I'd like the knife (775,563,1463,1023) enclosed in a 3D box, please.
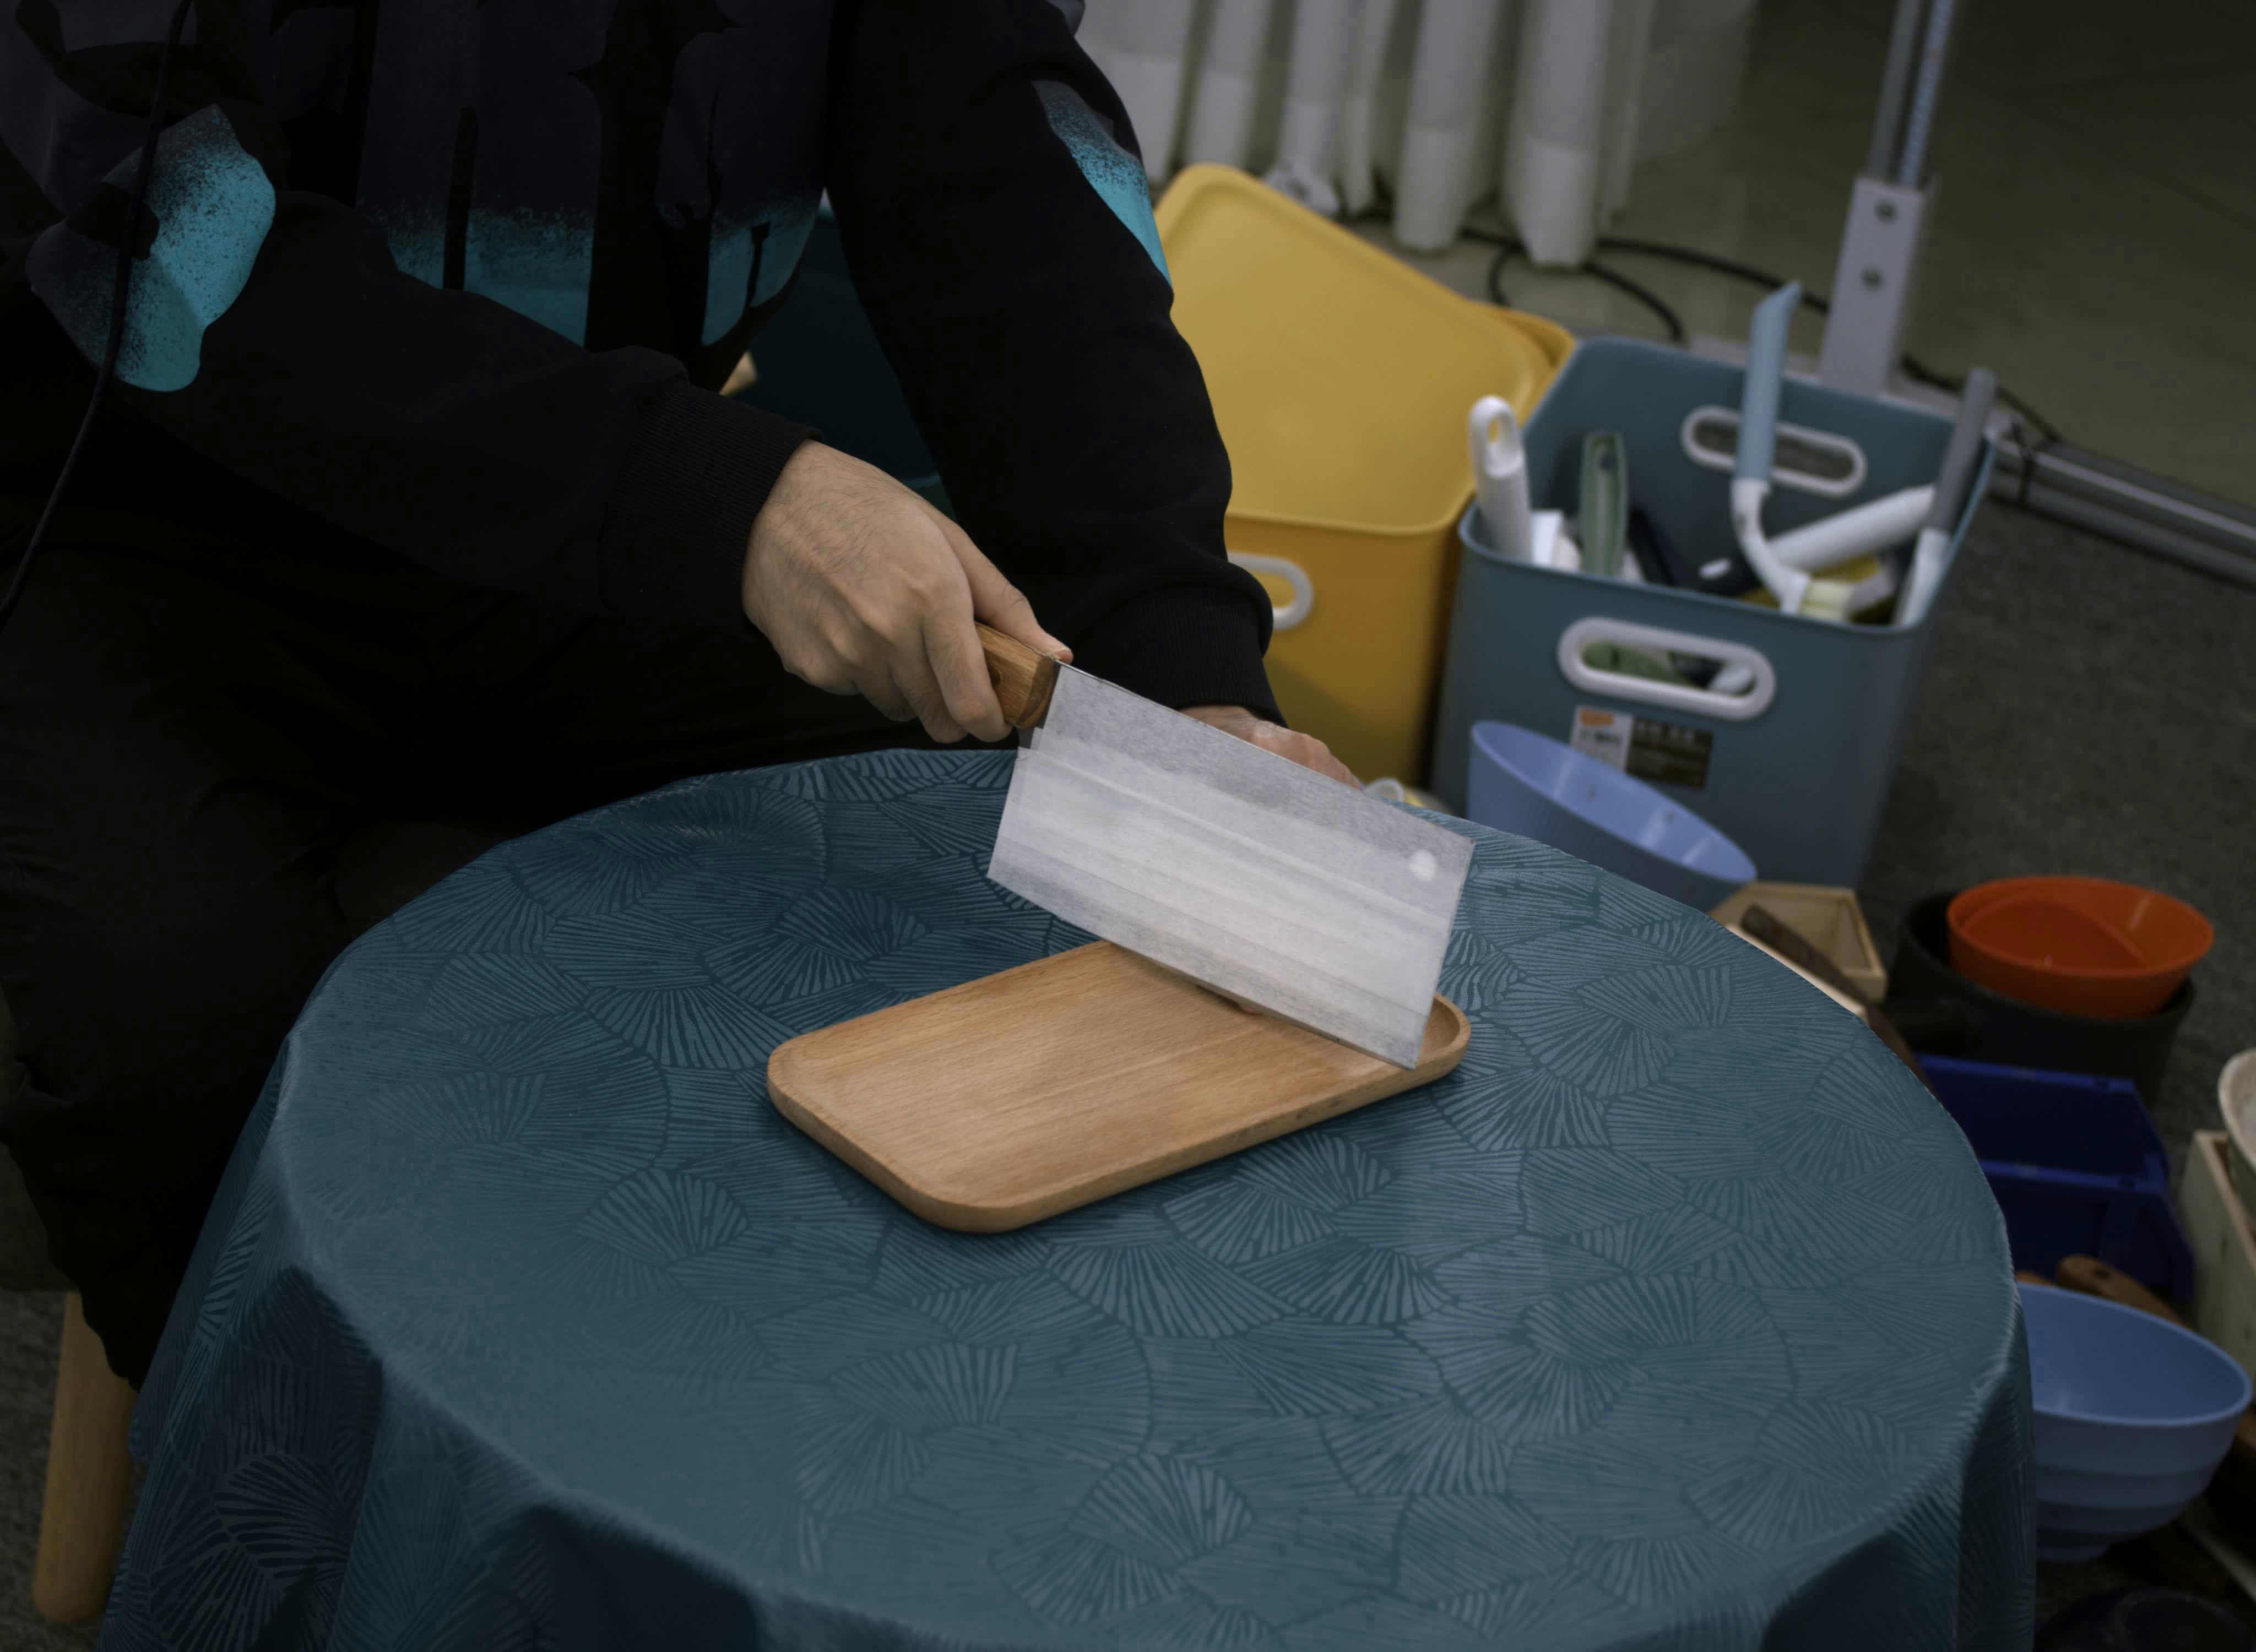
[{"bbox_3d":[-0.012,-0.010,1.922,0.307,0.093,0.021,24,21,30],"label":"knife"}]

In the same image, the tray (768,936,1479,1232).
[{"bbox_3d":[0.000,0.084,1.865,0.249,0.023,0.131,-14,35,-37],"label":"tray"}]
